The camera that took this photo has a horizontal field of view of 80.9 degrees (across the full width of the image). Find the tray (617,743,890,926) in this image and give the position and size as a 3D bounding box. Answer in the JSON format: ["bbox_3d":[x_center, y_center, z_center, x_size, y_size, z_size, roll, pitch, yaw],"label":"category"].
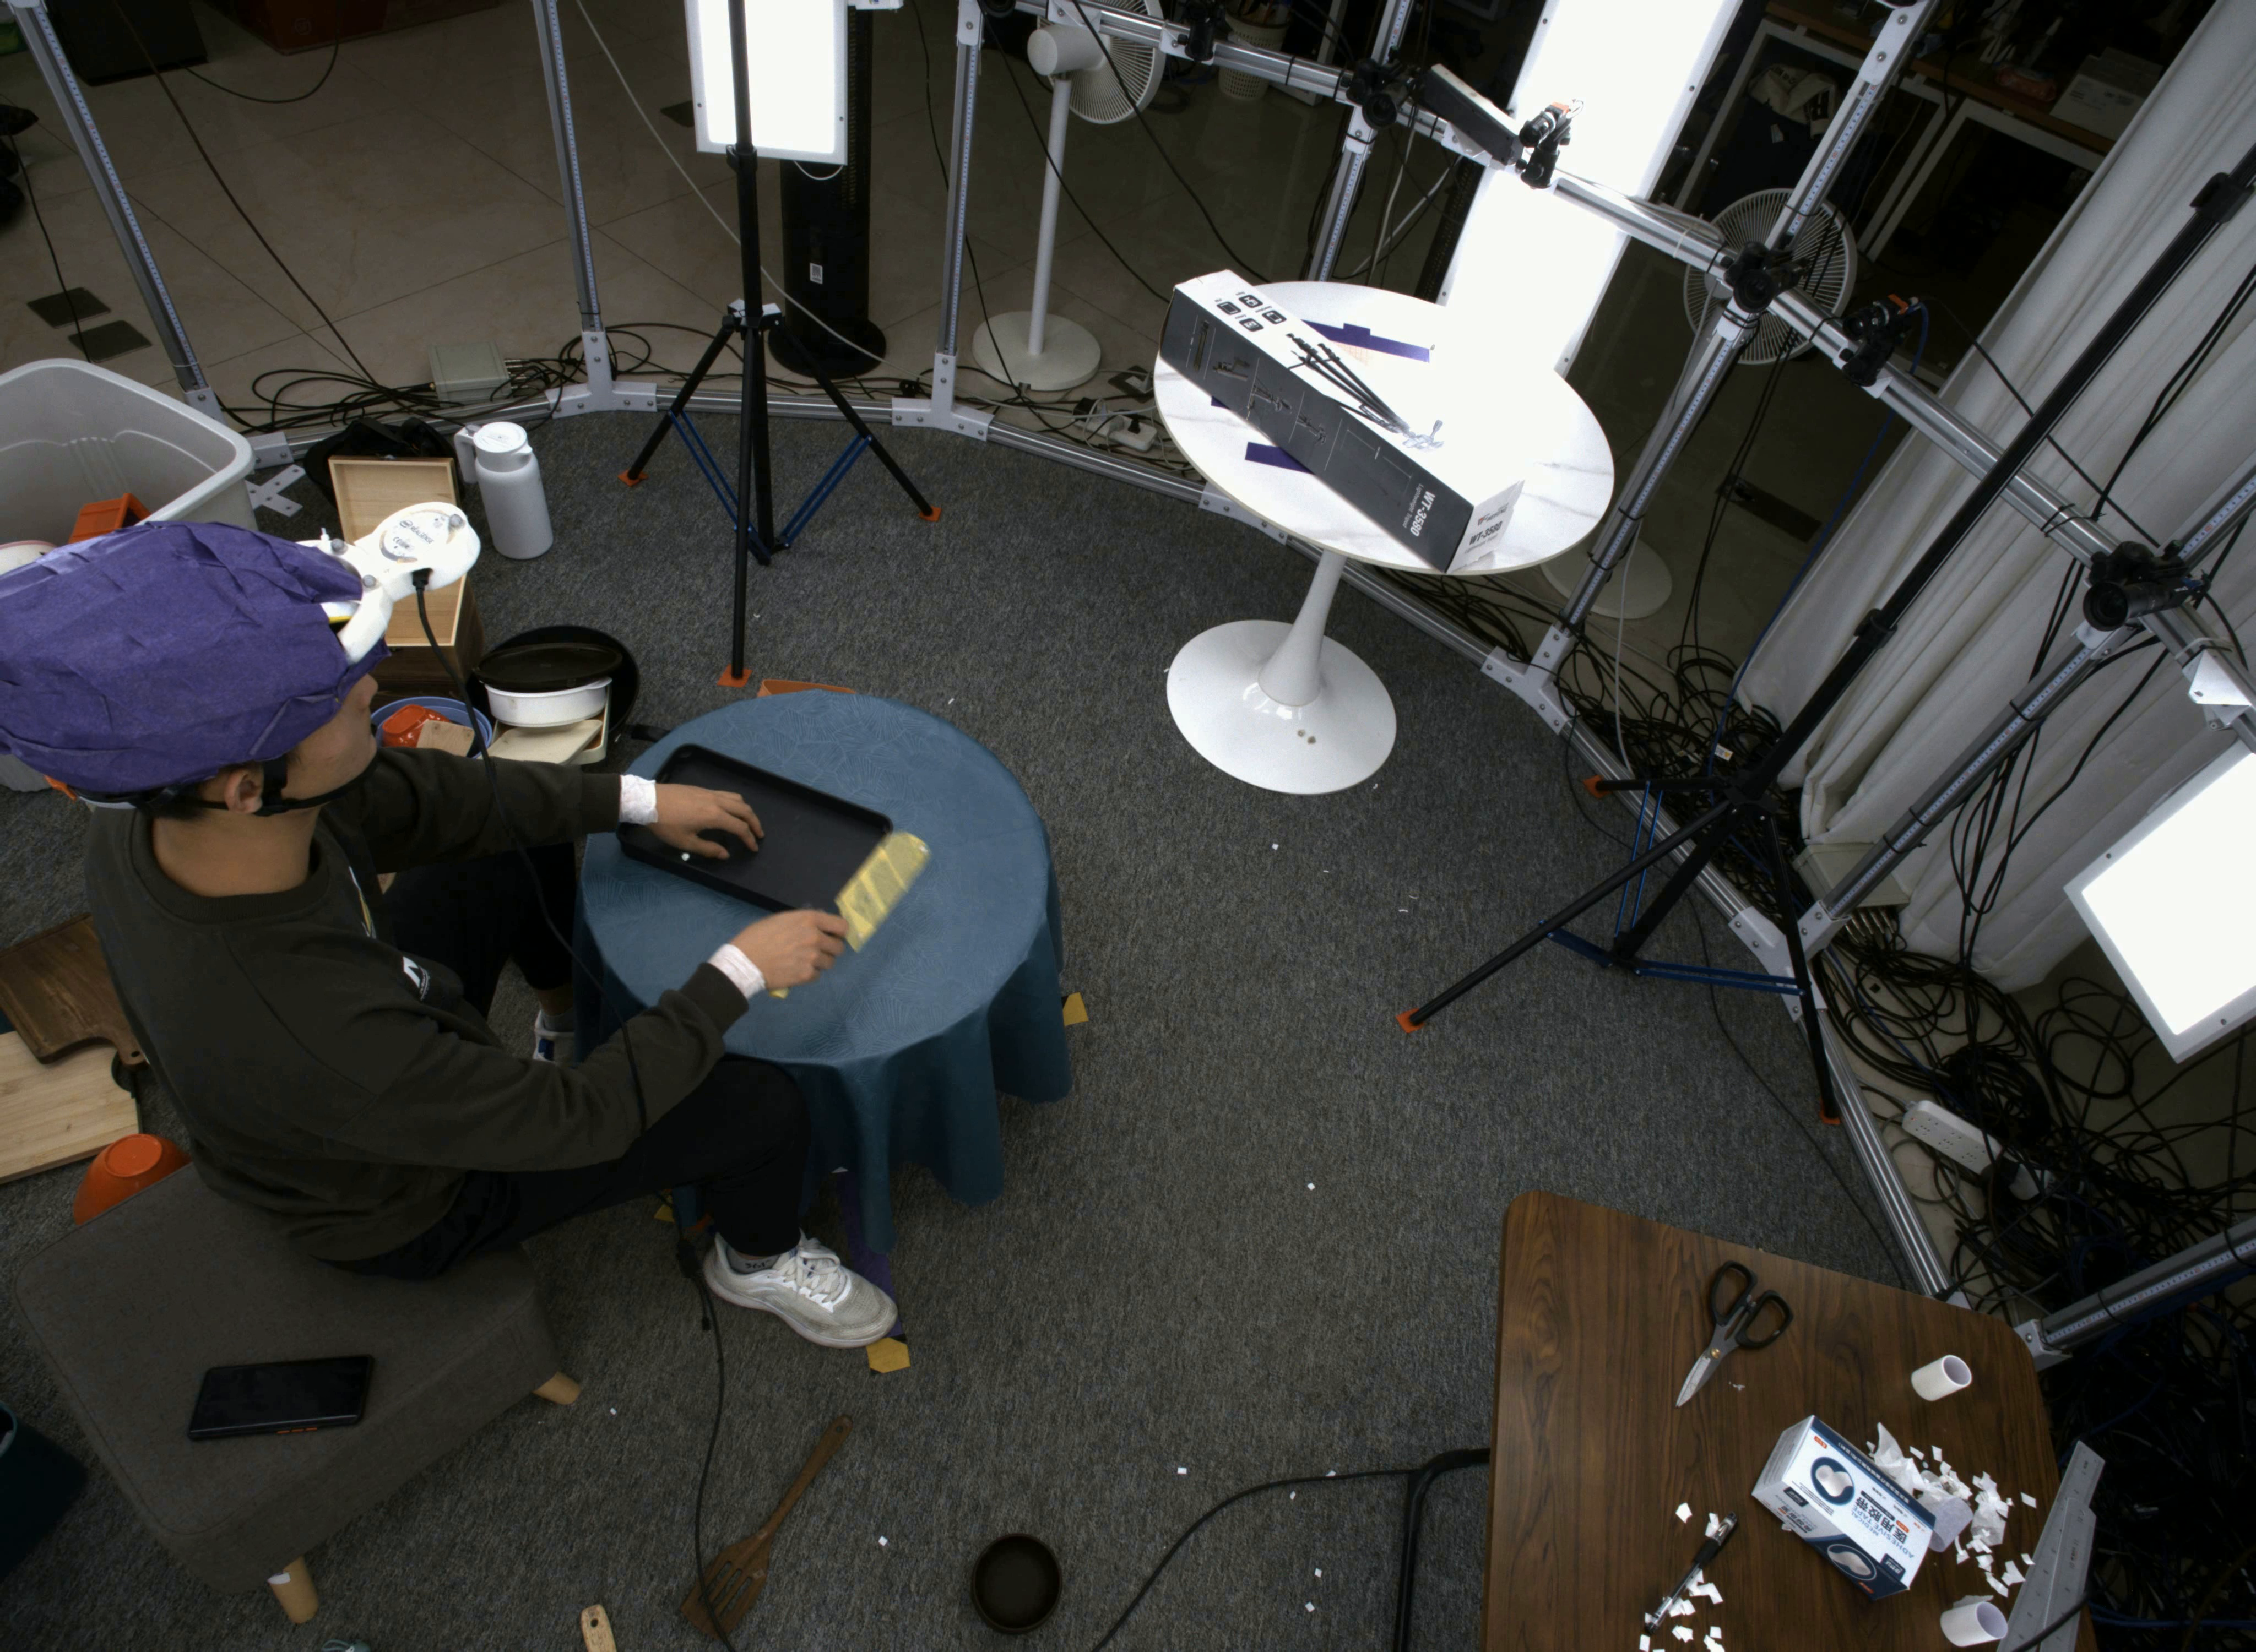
[{"bbox_3d":[-0.486,0.009,1.688,0.315,0.038,0.182,19,52,0],"label":"tray"}]

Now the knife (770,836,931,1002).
[{"bbox_3d":[-0.324,0.112,1.560,0.026,0.084,0.289,6,43,38],"label":"knife"}]
